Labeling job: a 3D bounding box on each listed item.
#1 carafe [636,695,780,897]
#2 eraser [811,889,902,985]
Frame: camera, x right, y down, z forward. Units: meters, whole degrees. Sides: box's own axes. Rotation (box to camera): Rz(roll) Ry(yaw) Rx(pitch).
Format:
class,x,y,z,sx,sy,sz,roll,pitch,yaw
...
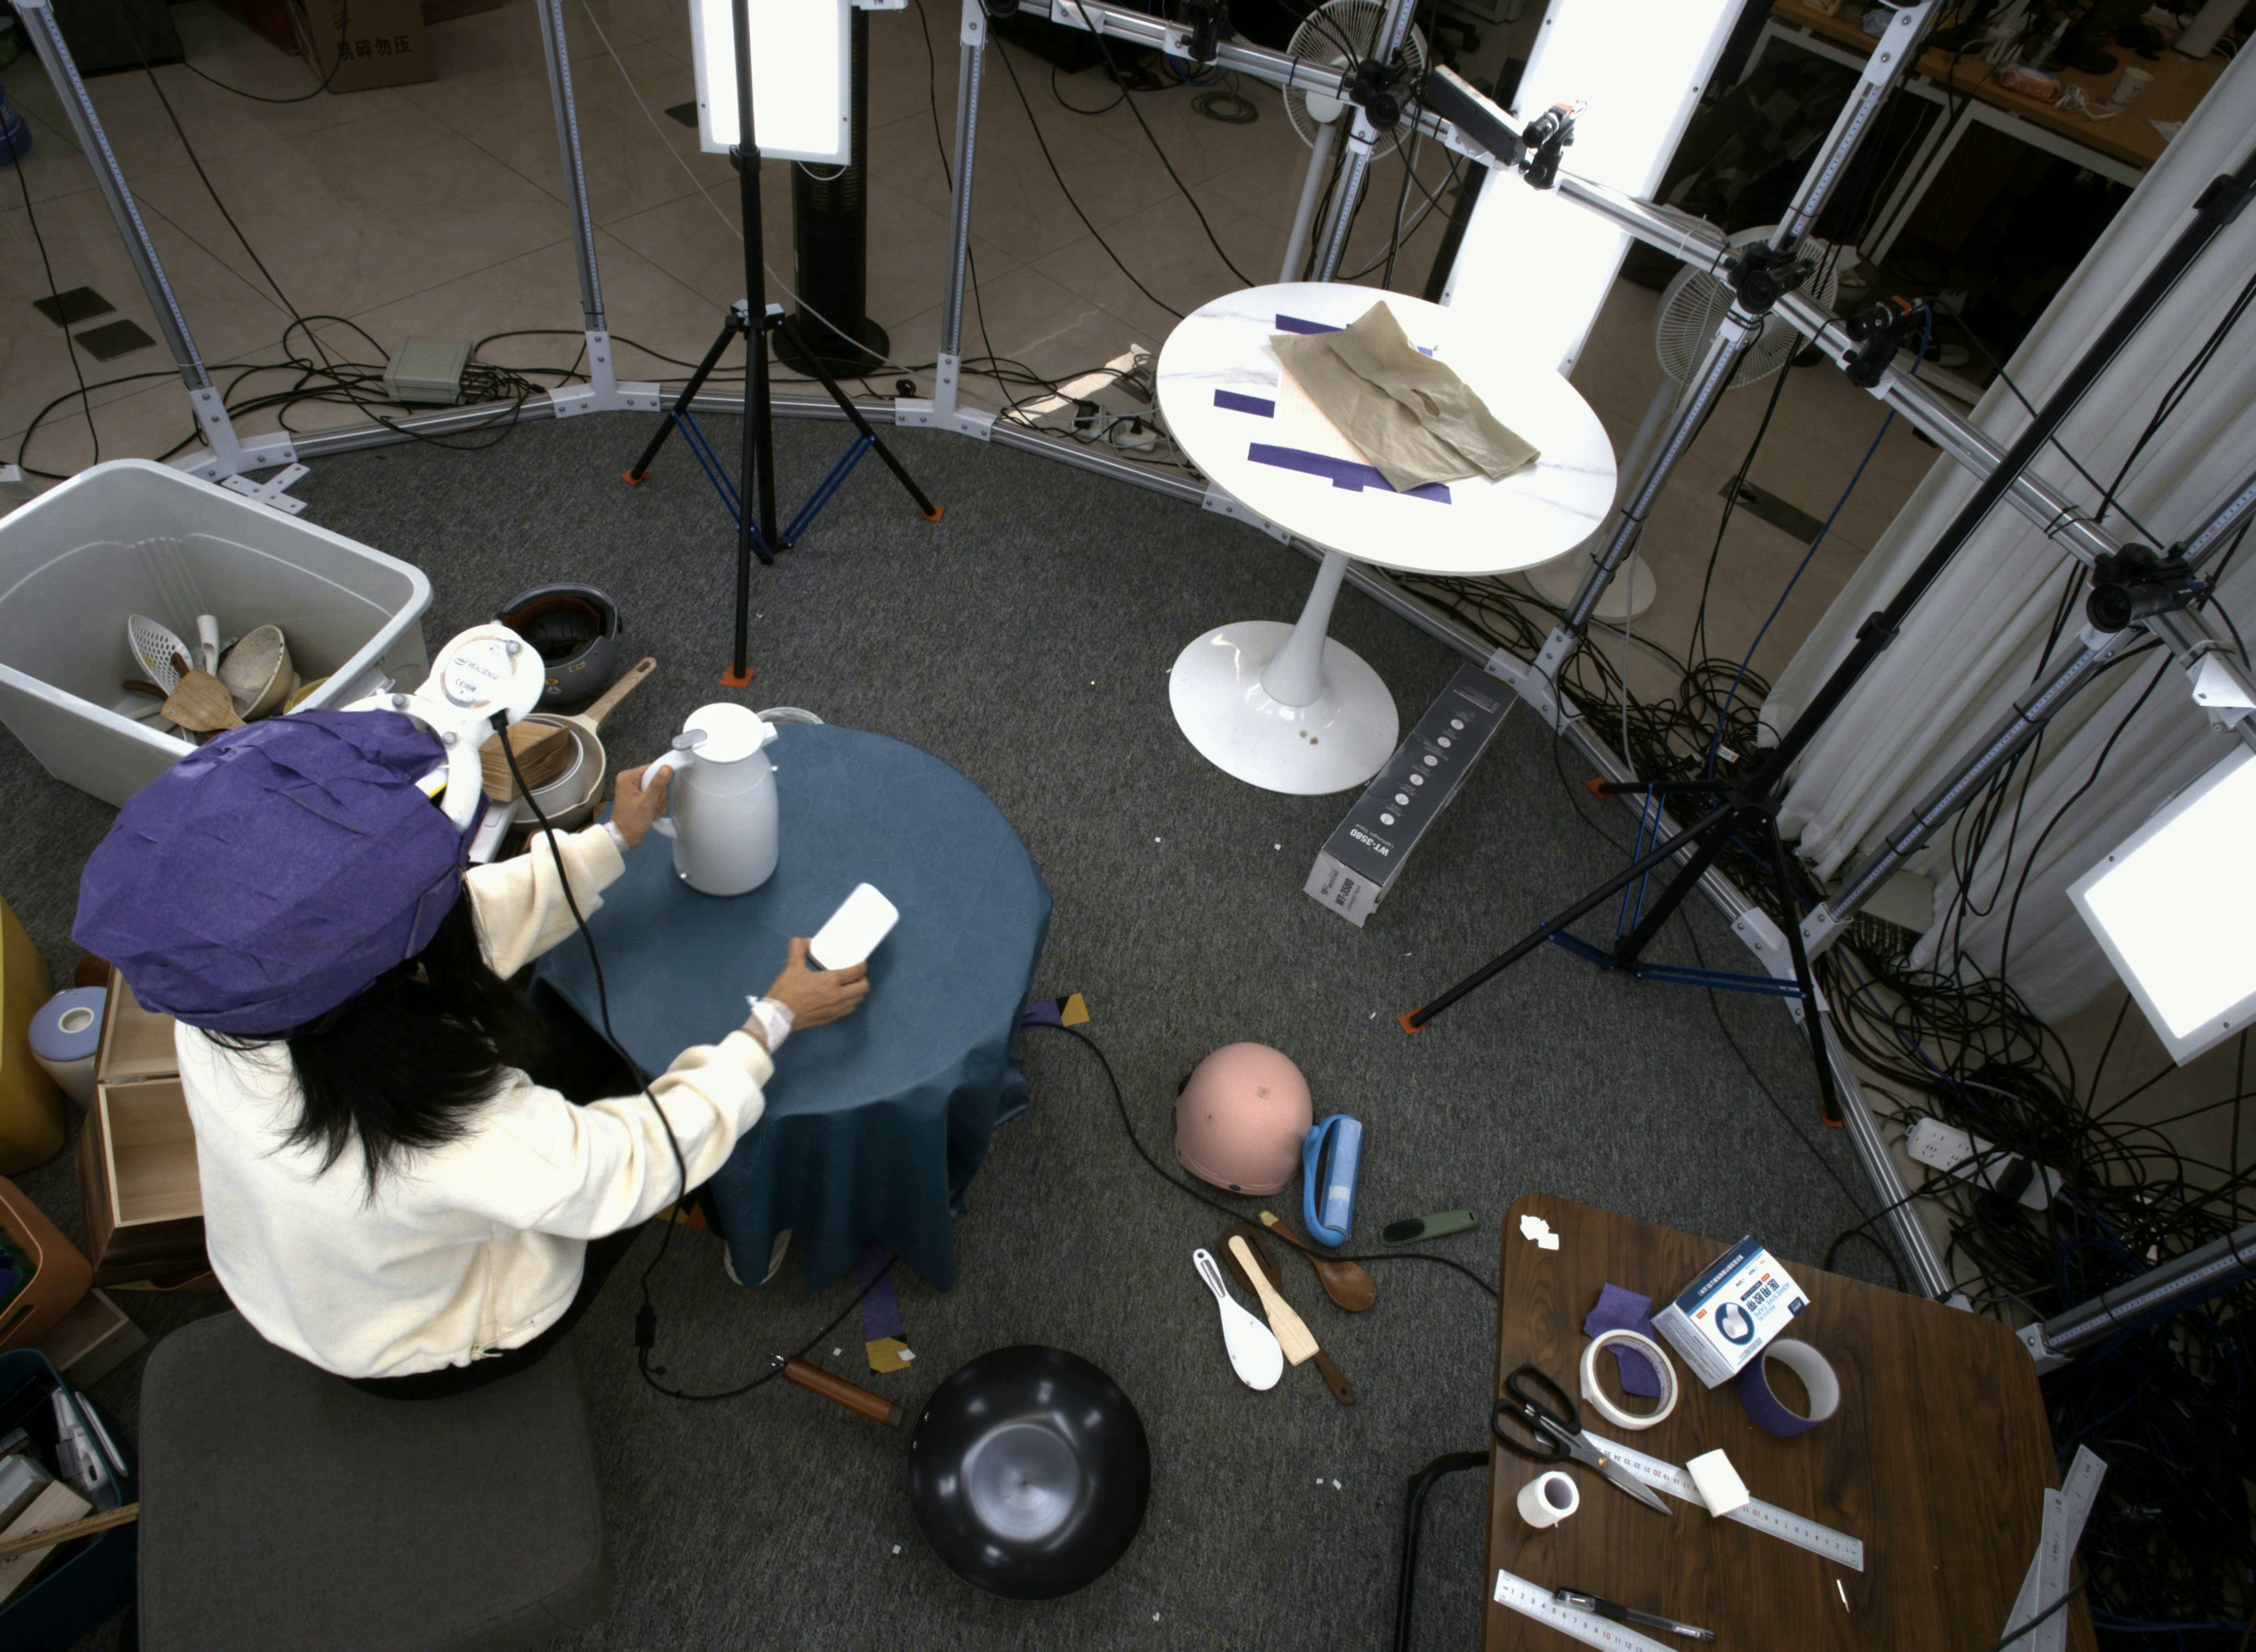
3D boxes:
class,x,y,z,sx,sy,sz,roll,pitch,yaw
carafe,-0.508,-0.037,1.558,0.169,0.253,0.129,-20,59,-27
eraser,-0.330,0.130,1.578,0.064,0.034,0.130,46,43,-9
